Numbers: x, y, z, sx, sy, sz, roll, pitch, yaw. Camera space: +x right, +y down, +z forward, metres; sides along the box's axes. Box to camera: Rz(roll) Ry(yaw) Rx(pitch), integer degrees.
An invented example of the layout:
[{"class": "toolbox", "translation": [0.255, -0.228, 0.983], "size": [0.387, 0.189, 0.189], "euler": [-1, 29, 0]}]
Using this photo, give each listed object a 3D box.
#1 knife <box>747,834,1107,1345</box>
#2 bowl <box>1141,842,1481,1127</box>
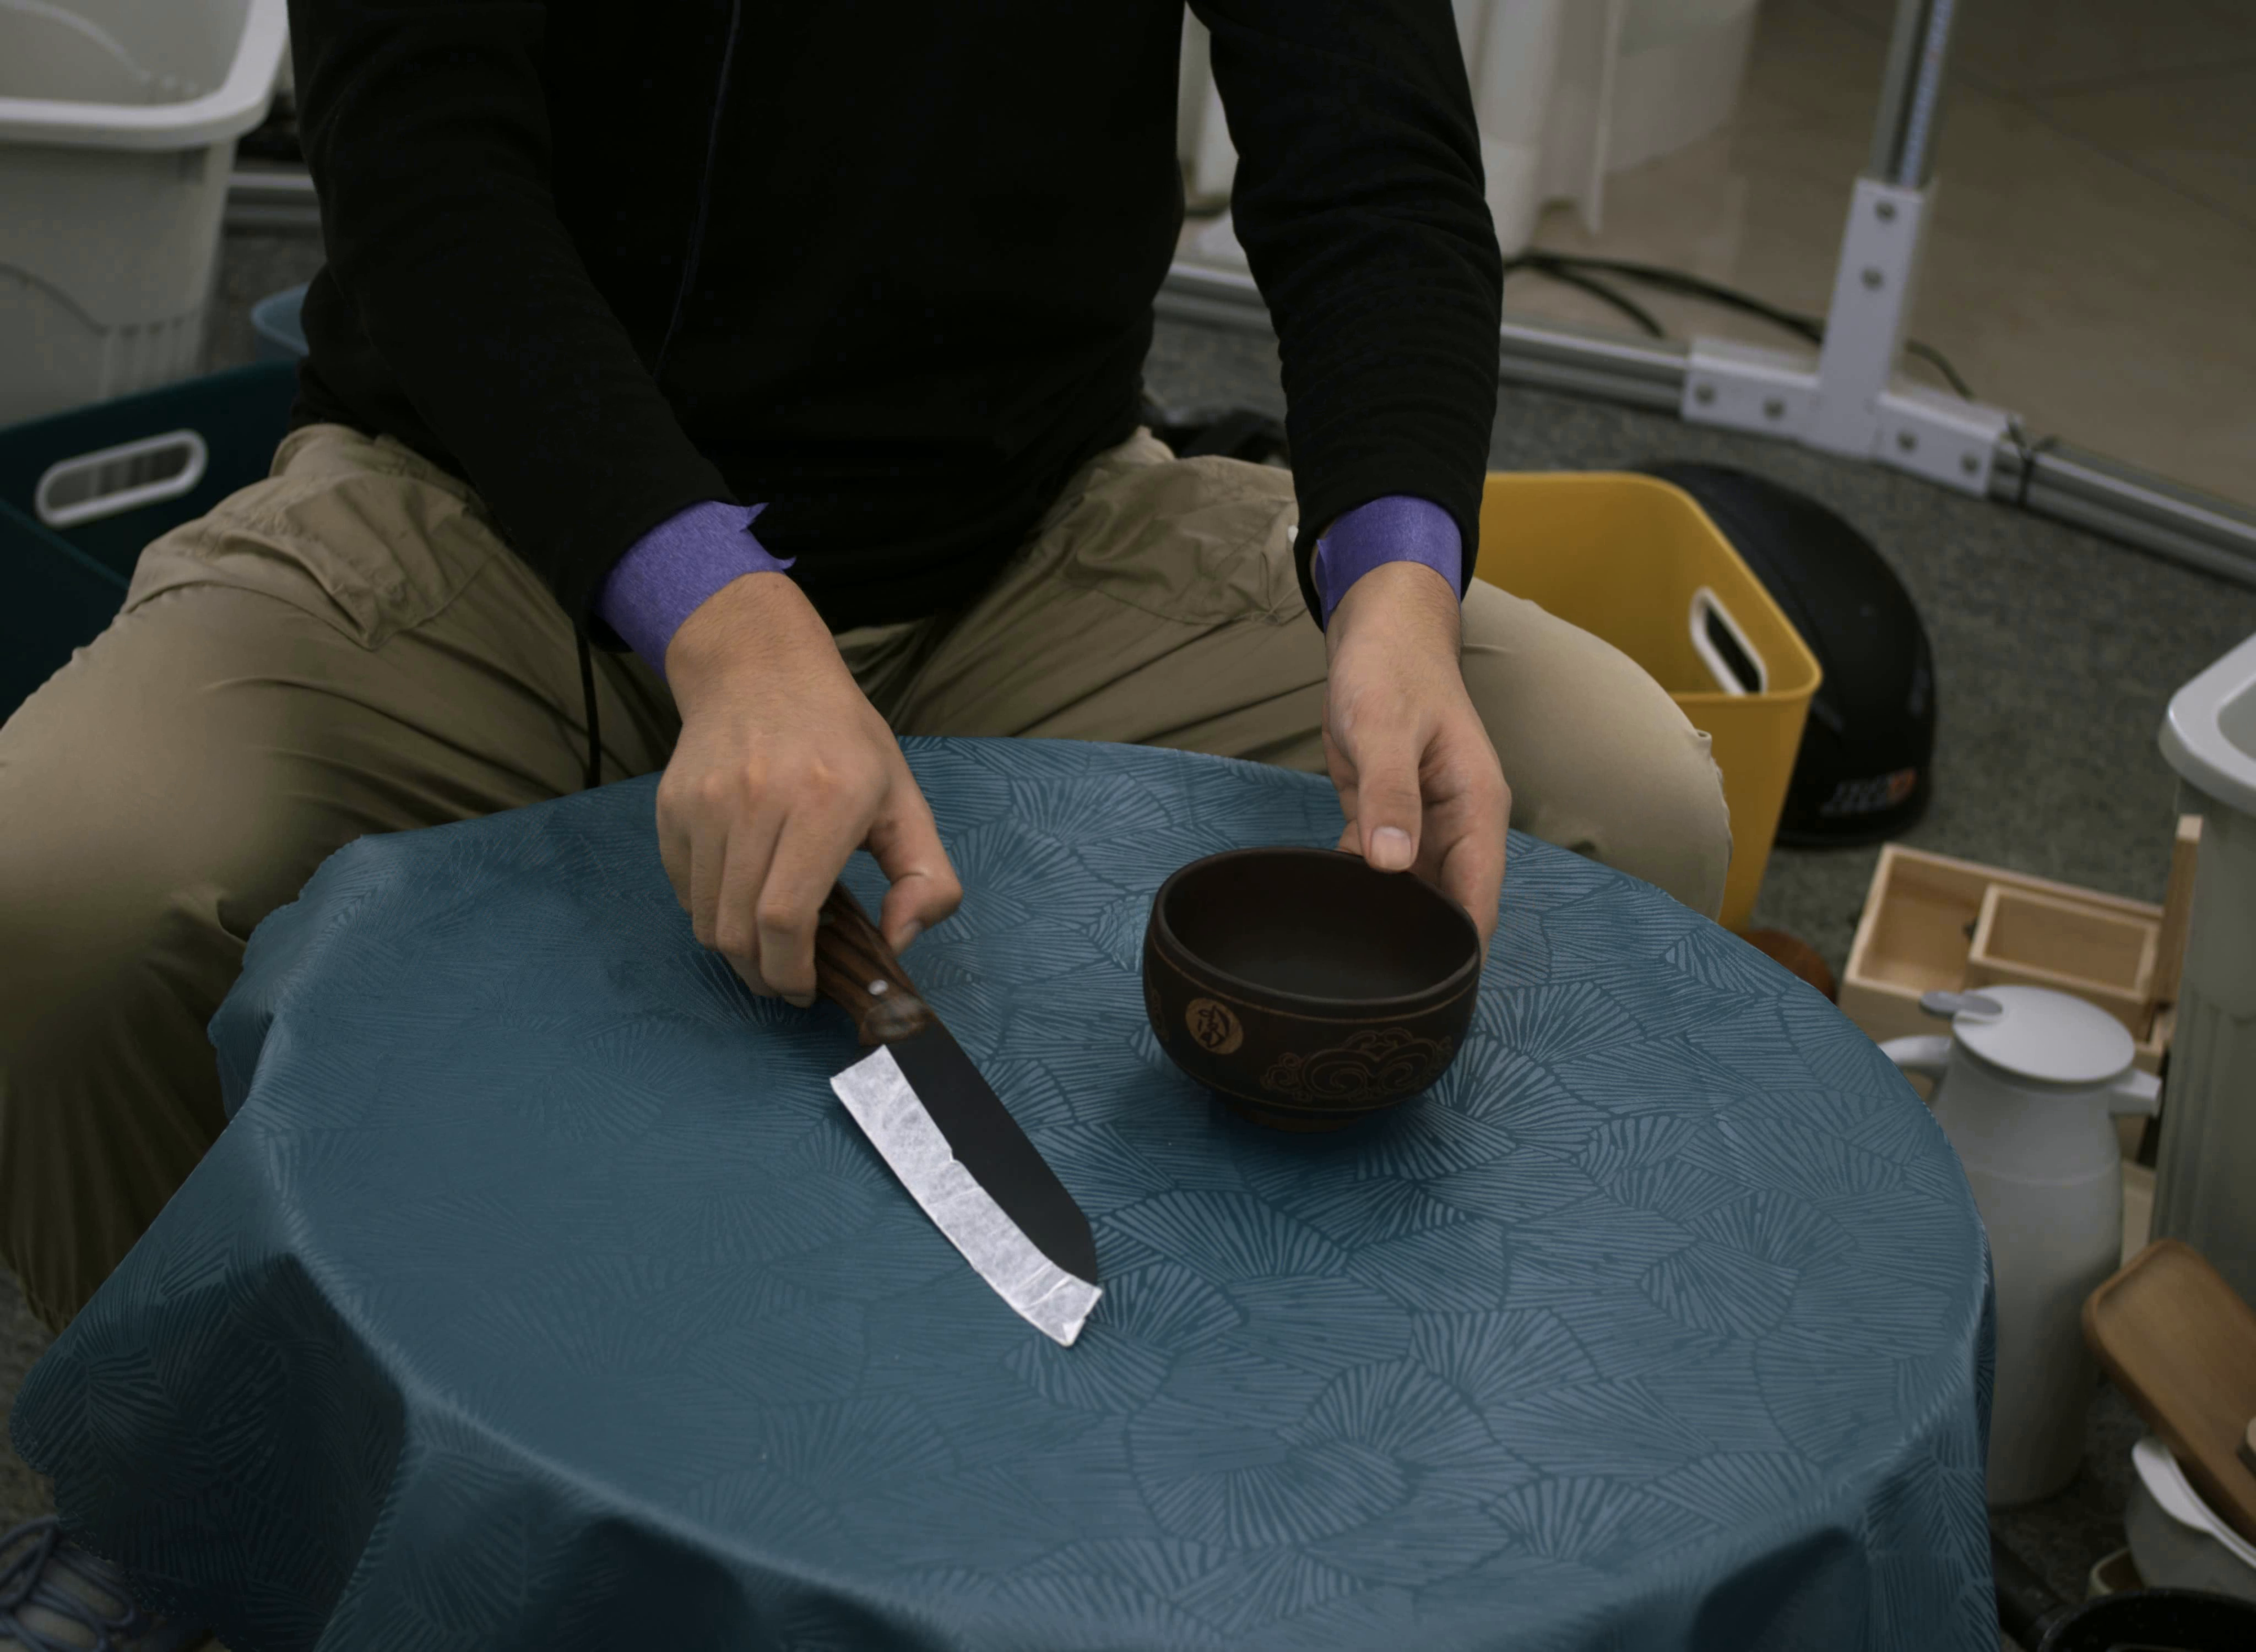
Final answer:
[{"class": "knife", "translation": [-0.072, 0.088, 1.822], "size": [0.050, 0.020, 0.292], "euler": [-29, 41, -6]}, {"class": "bowl", "translation": [0.062, 0.062, 1.861], "size": [0.117, 0.069, 0.119], "euler": [5, 26, -3]}]
